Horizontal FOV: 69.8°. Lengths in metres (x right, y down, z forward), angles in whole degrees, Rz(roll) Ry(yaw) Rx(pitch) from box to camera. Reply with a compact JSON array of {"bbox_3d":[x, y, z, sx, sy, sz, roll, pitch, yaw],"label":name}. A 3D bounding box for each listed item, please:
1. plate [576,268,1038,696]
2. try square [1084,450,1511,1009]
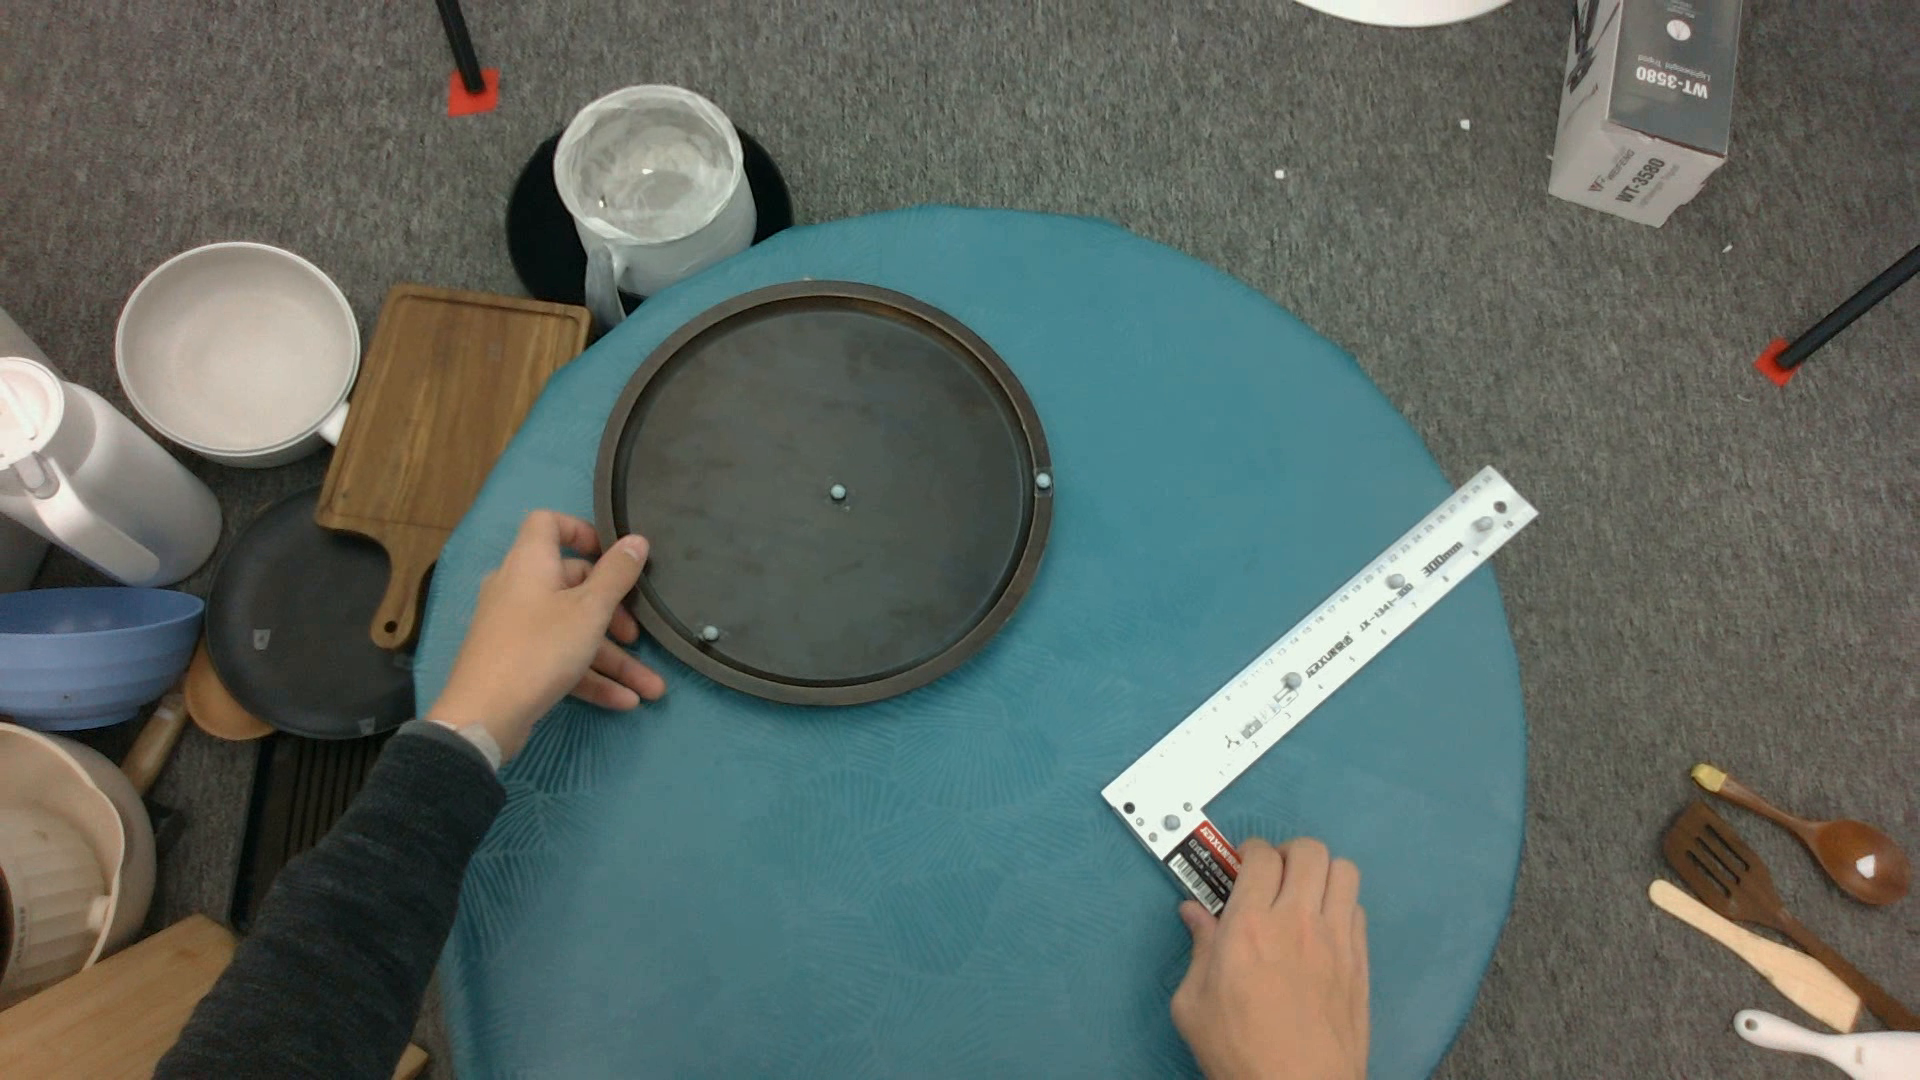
[{"bbox_3d":[-0.083,-0.037,0.764,0.255,0.029,0.255,2,70,-6],"label":"plate"},{"bbox_3d":[0.229,0.092,0.756,0.314,0.016,0.152,-37,77,-17],"label":"try square"}]
